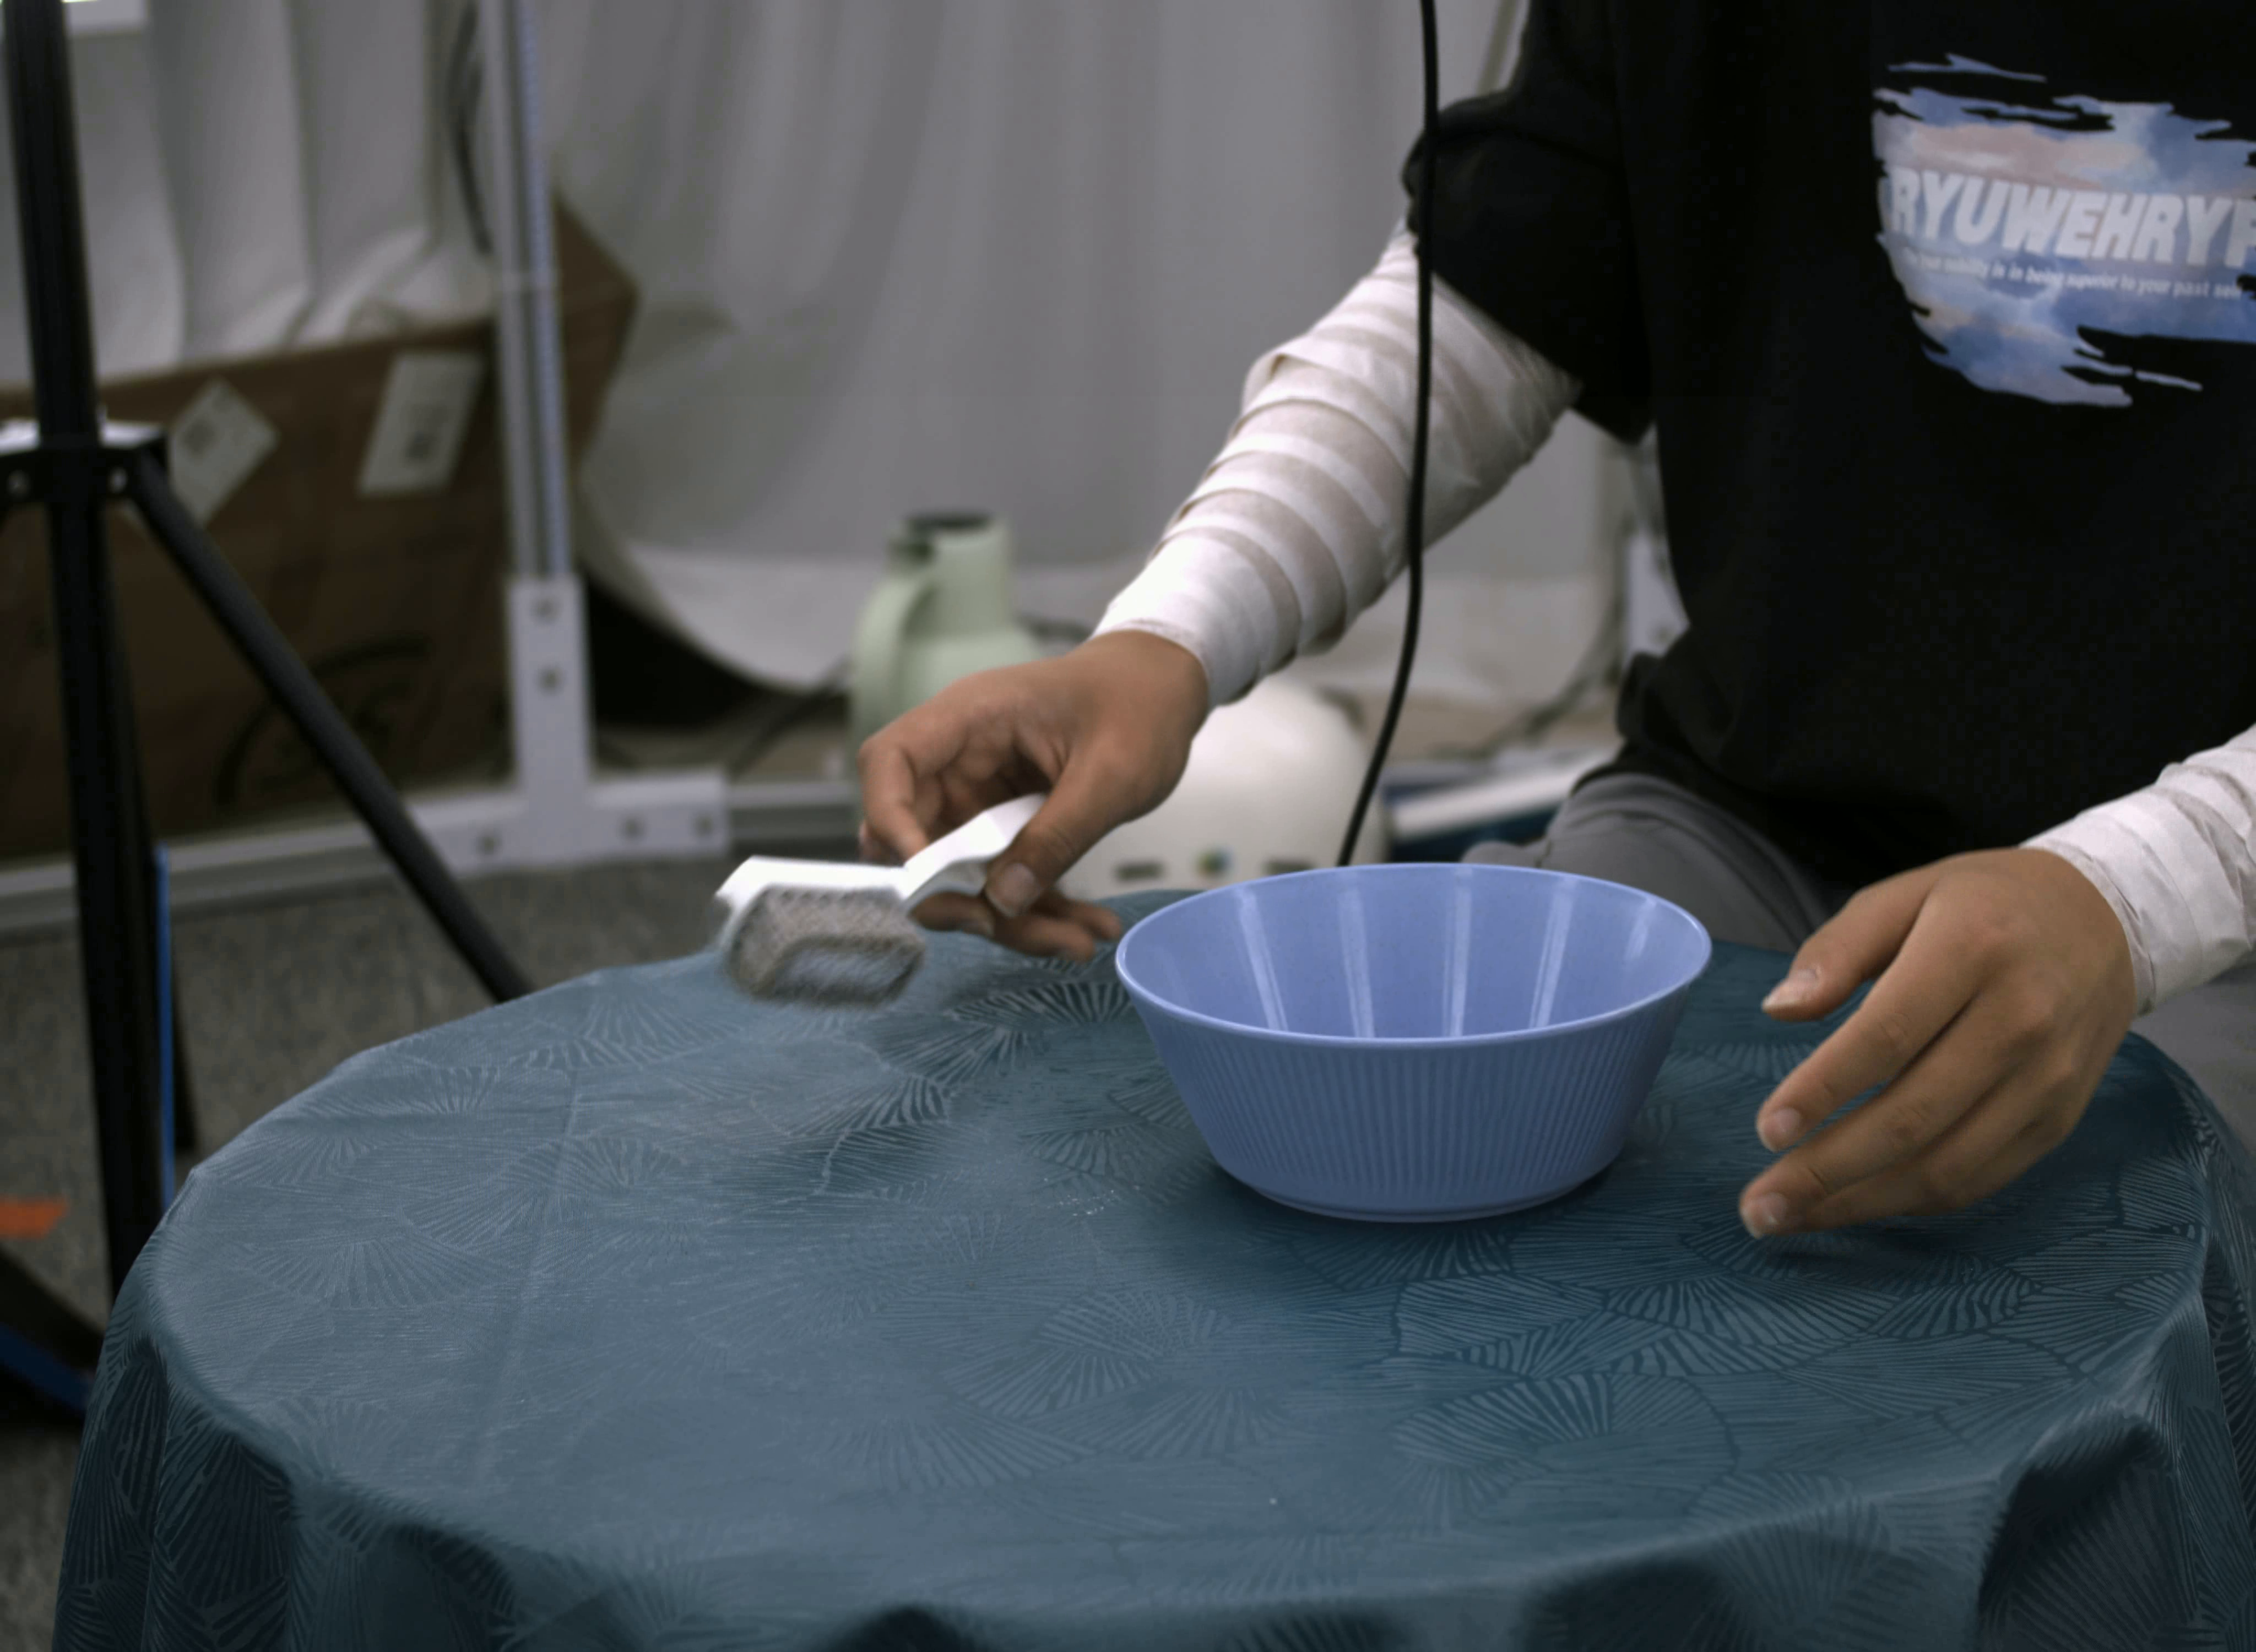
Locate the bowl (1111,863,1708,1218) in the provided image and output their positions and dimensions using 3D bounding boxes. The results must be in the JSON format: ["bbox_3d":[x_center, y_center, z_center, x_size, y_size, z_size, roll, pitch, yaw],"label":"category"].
[{"bbox_3d":[0.083,0.066,1.566,0.175,0.070,0.177,-2,16,-1],"label":"bowl"}]

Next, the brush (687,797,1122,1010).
[{"bbox_3d":[-0.054,0.023,1.686,0.051,0.034,0.238,33,23,25],"label":"brush"}]
